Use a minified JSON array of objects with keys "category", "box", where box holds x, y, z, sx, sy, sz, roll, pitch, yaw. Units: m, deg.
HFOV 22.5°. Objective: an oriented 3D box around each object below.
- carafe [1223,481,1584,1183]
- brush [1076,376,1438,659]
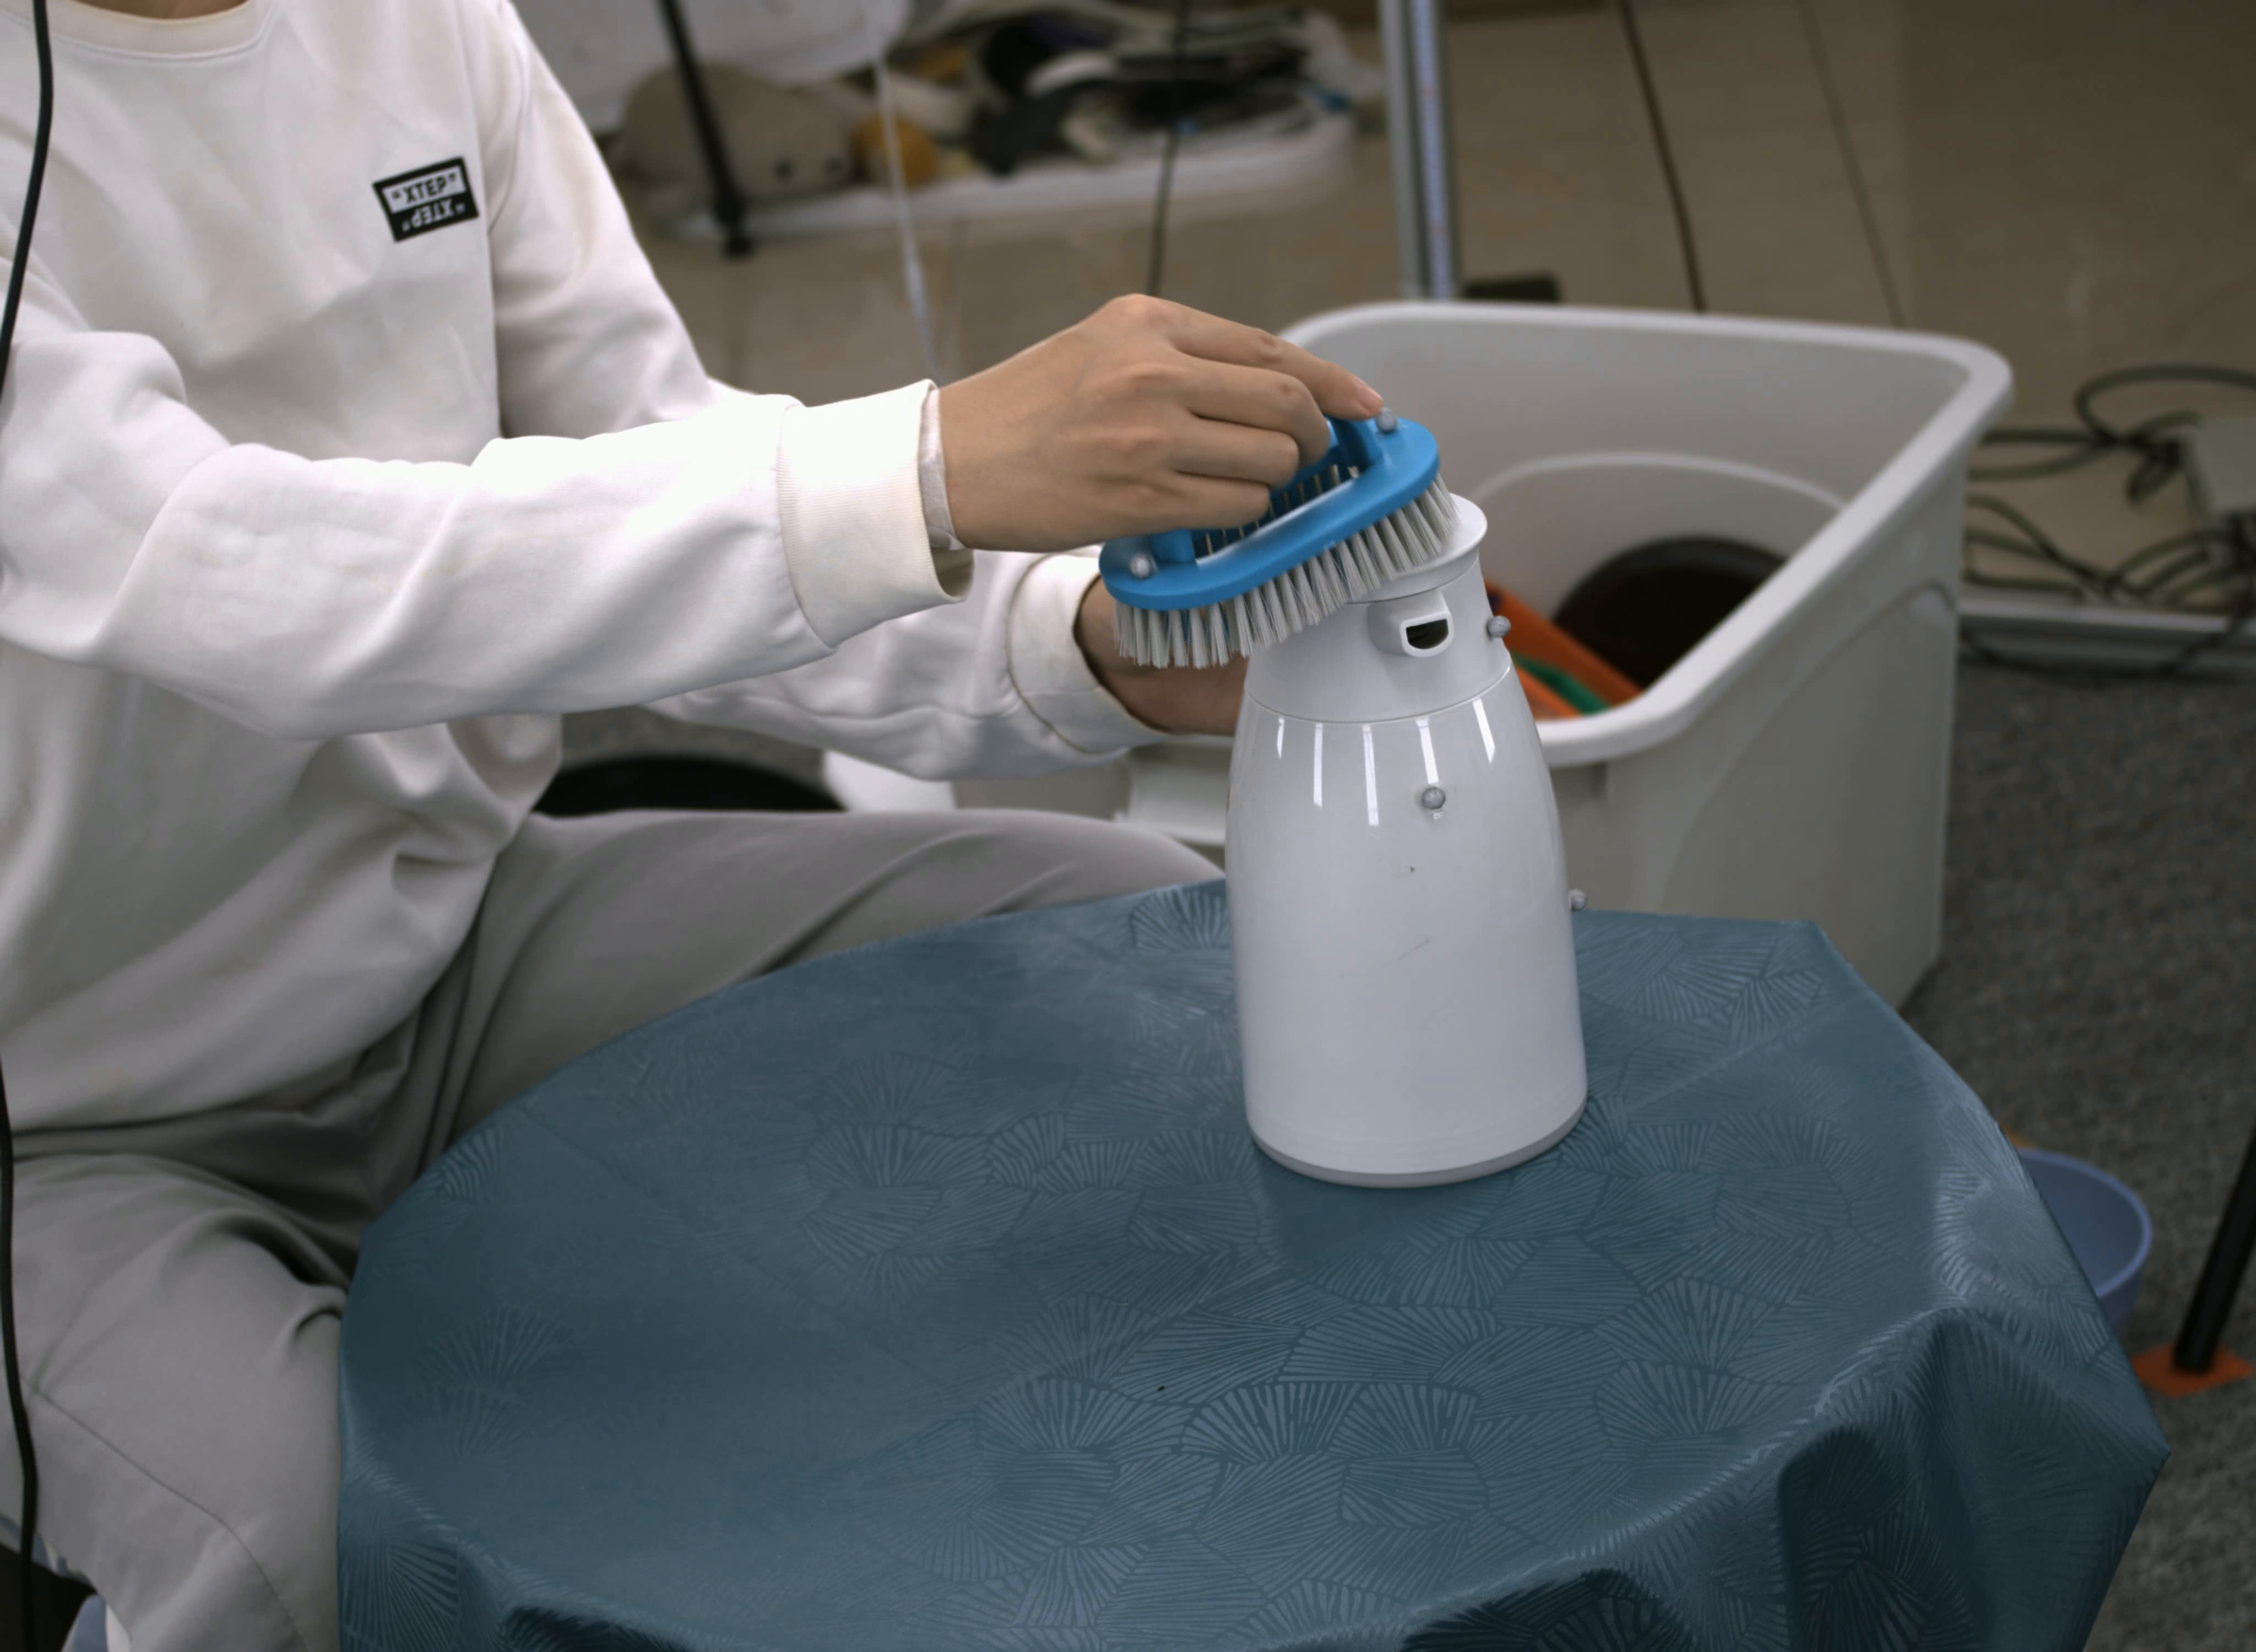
[{"category":"carafe","box":[0.091,-0.011,2.146,0.132,0.252,0.165,-14,26,-15]},{"category":"brush","box":[0.046,-0.120,2.028,0.141,0.065,0.083,-30,37,-20]}]
